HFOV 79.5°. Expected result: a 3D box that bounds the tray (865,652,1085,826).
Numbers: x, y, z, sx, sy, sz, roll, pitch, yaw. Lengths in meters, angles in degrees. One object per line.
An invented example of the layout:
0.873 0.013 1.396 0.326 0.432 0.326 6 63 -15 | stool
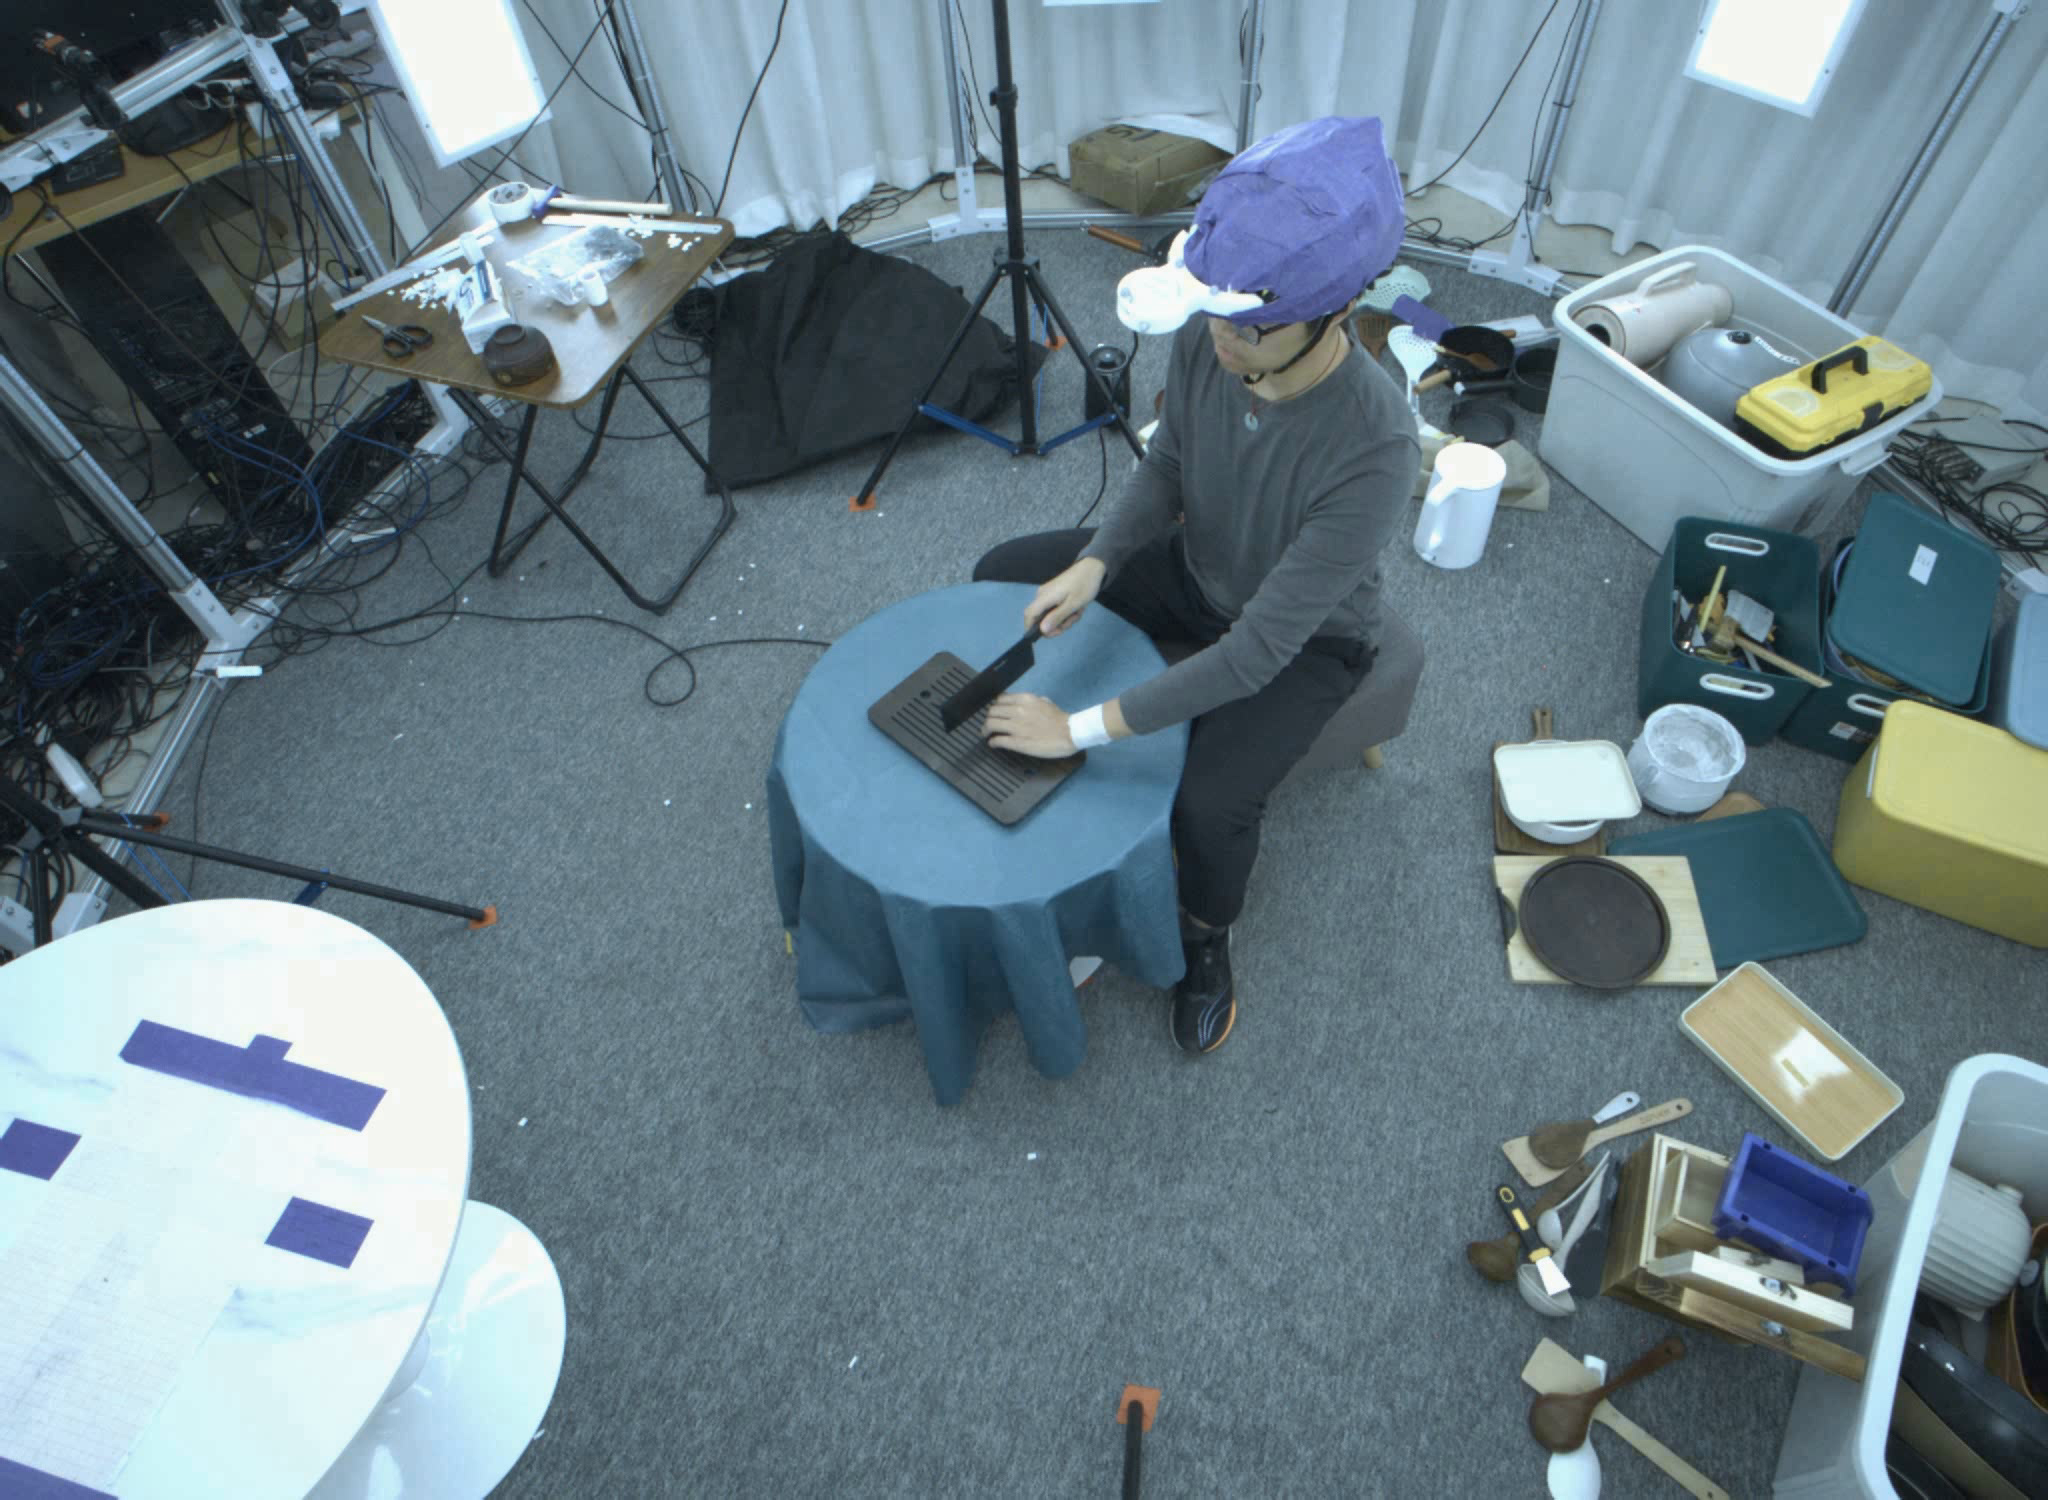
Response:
-0.074 -0.020 1.800 0.300 0.019 0.171 37 62 24 | tray

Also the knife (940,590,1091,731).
-0.010 -0.135 1.783 0.020 0.082 0.304 34 67 31 | knife
